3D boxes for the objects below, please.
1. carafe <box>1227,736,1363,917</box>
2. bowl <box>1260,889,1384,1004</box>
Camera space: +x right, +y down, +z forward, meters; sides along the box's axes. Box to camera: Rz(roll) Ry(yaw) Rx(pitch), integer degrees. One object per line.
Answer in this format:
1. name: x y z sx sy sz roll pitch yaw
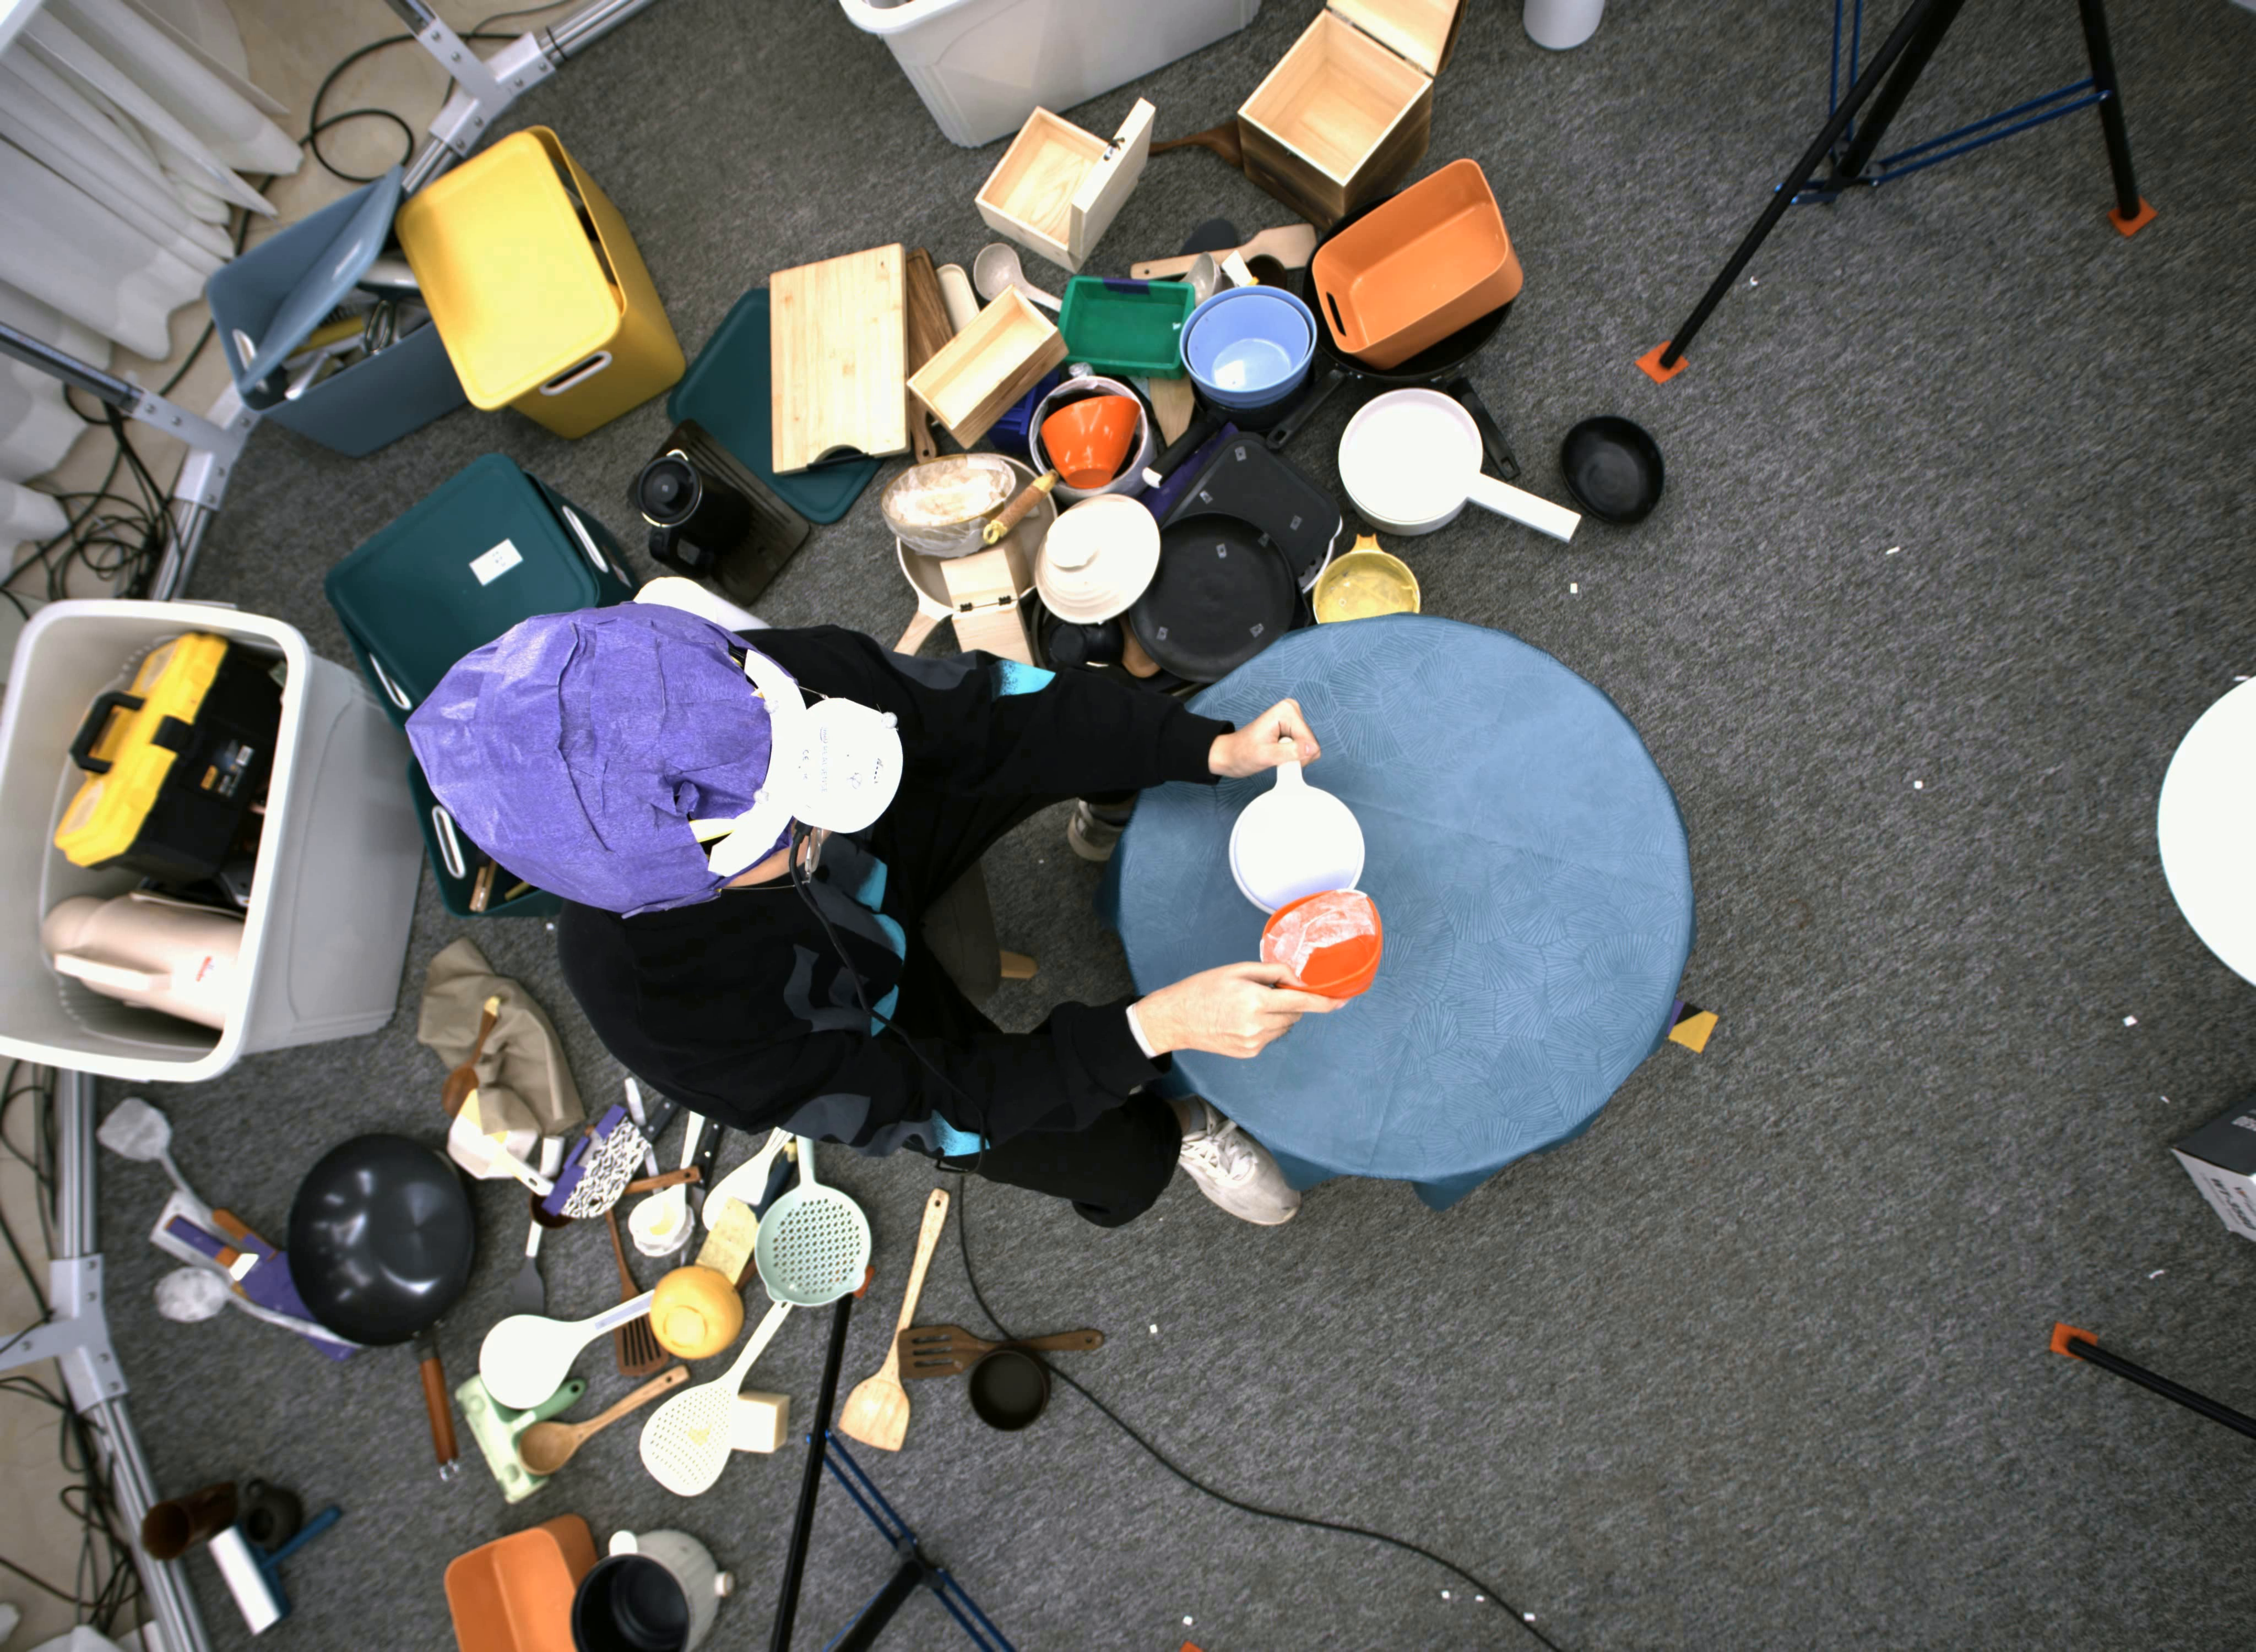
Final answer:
1. carafe: 0.163 0.003 1.381 0.132 0.183 0.190 -7 86 5
2. bowl: 0.177 0.114 1.229 0.120 0.052 0.116 -15 44 15
